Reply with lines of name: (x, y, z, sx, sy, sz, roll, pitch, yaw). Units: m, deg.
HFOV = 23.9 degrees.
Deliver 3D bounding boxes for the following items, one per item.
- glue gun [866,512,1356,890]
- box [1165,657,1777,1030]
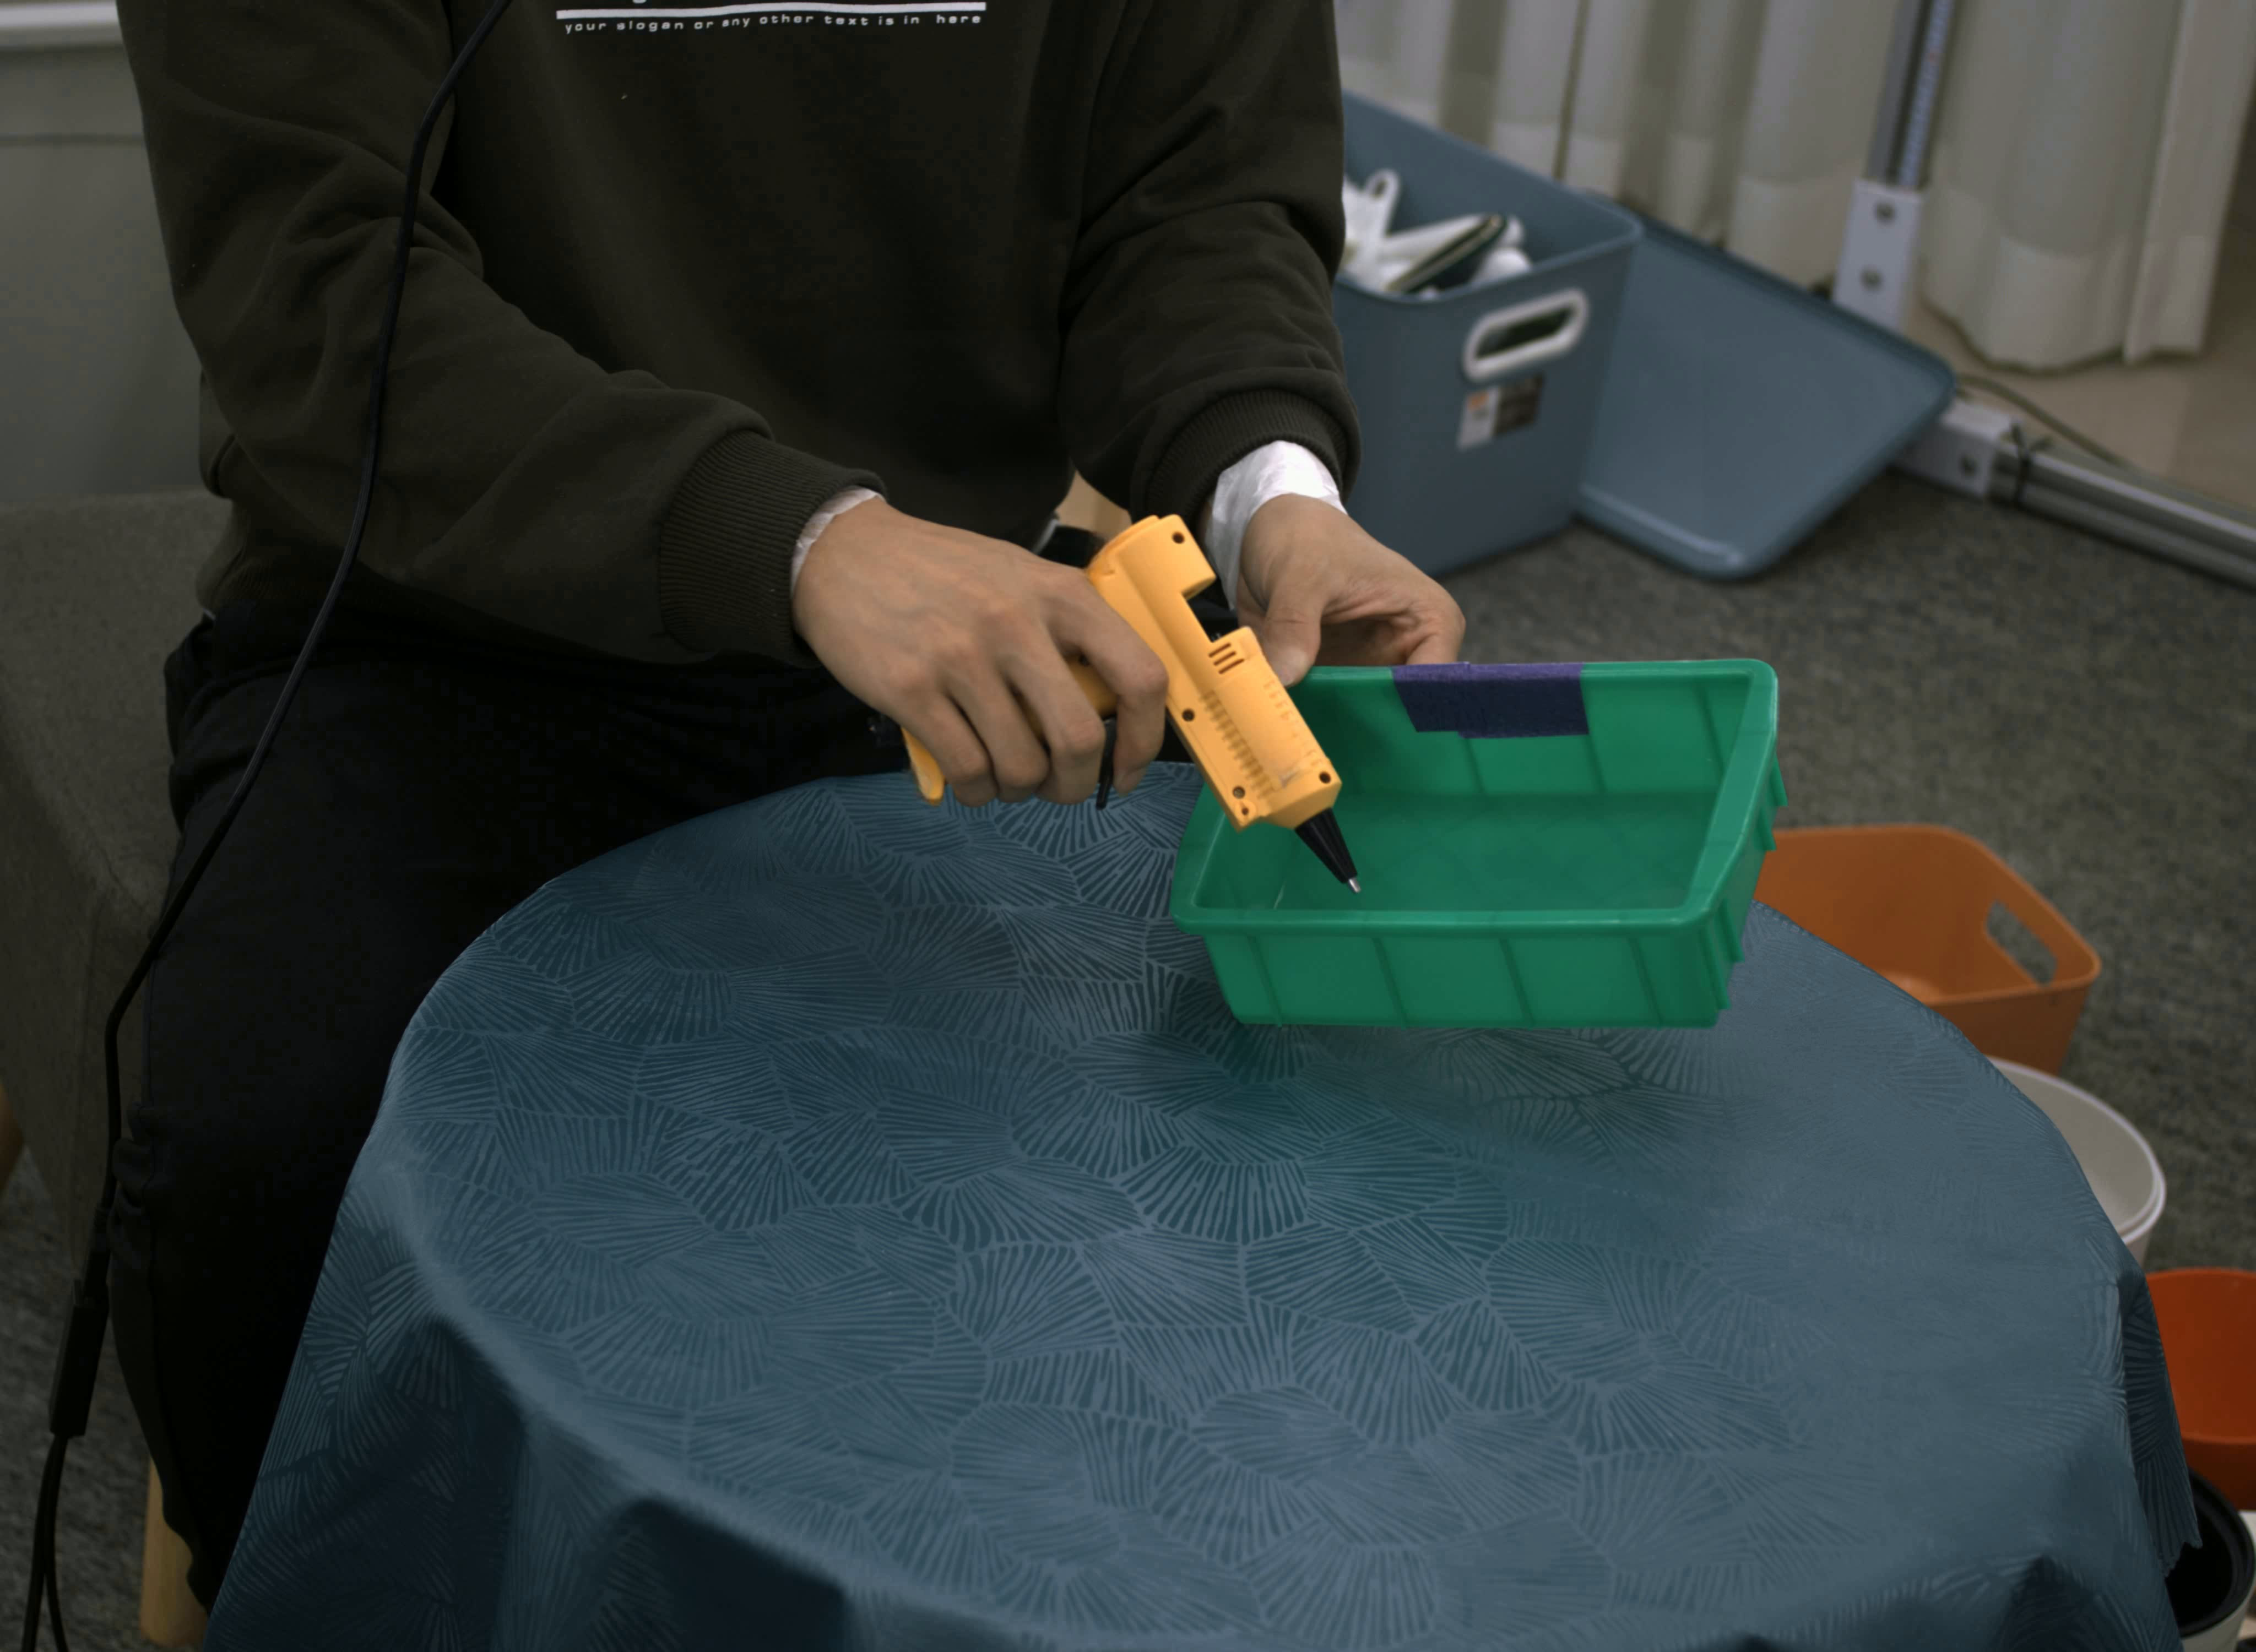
glue gun: (0.003, -0.016, 1.867, 0.133, 0.152, 0.031, -36, -7, -7)
box: (0.128, 0.010, 1.911, 0.211, 0.065, 0.139, -3, 40, 23)
